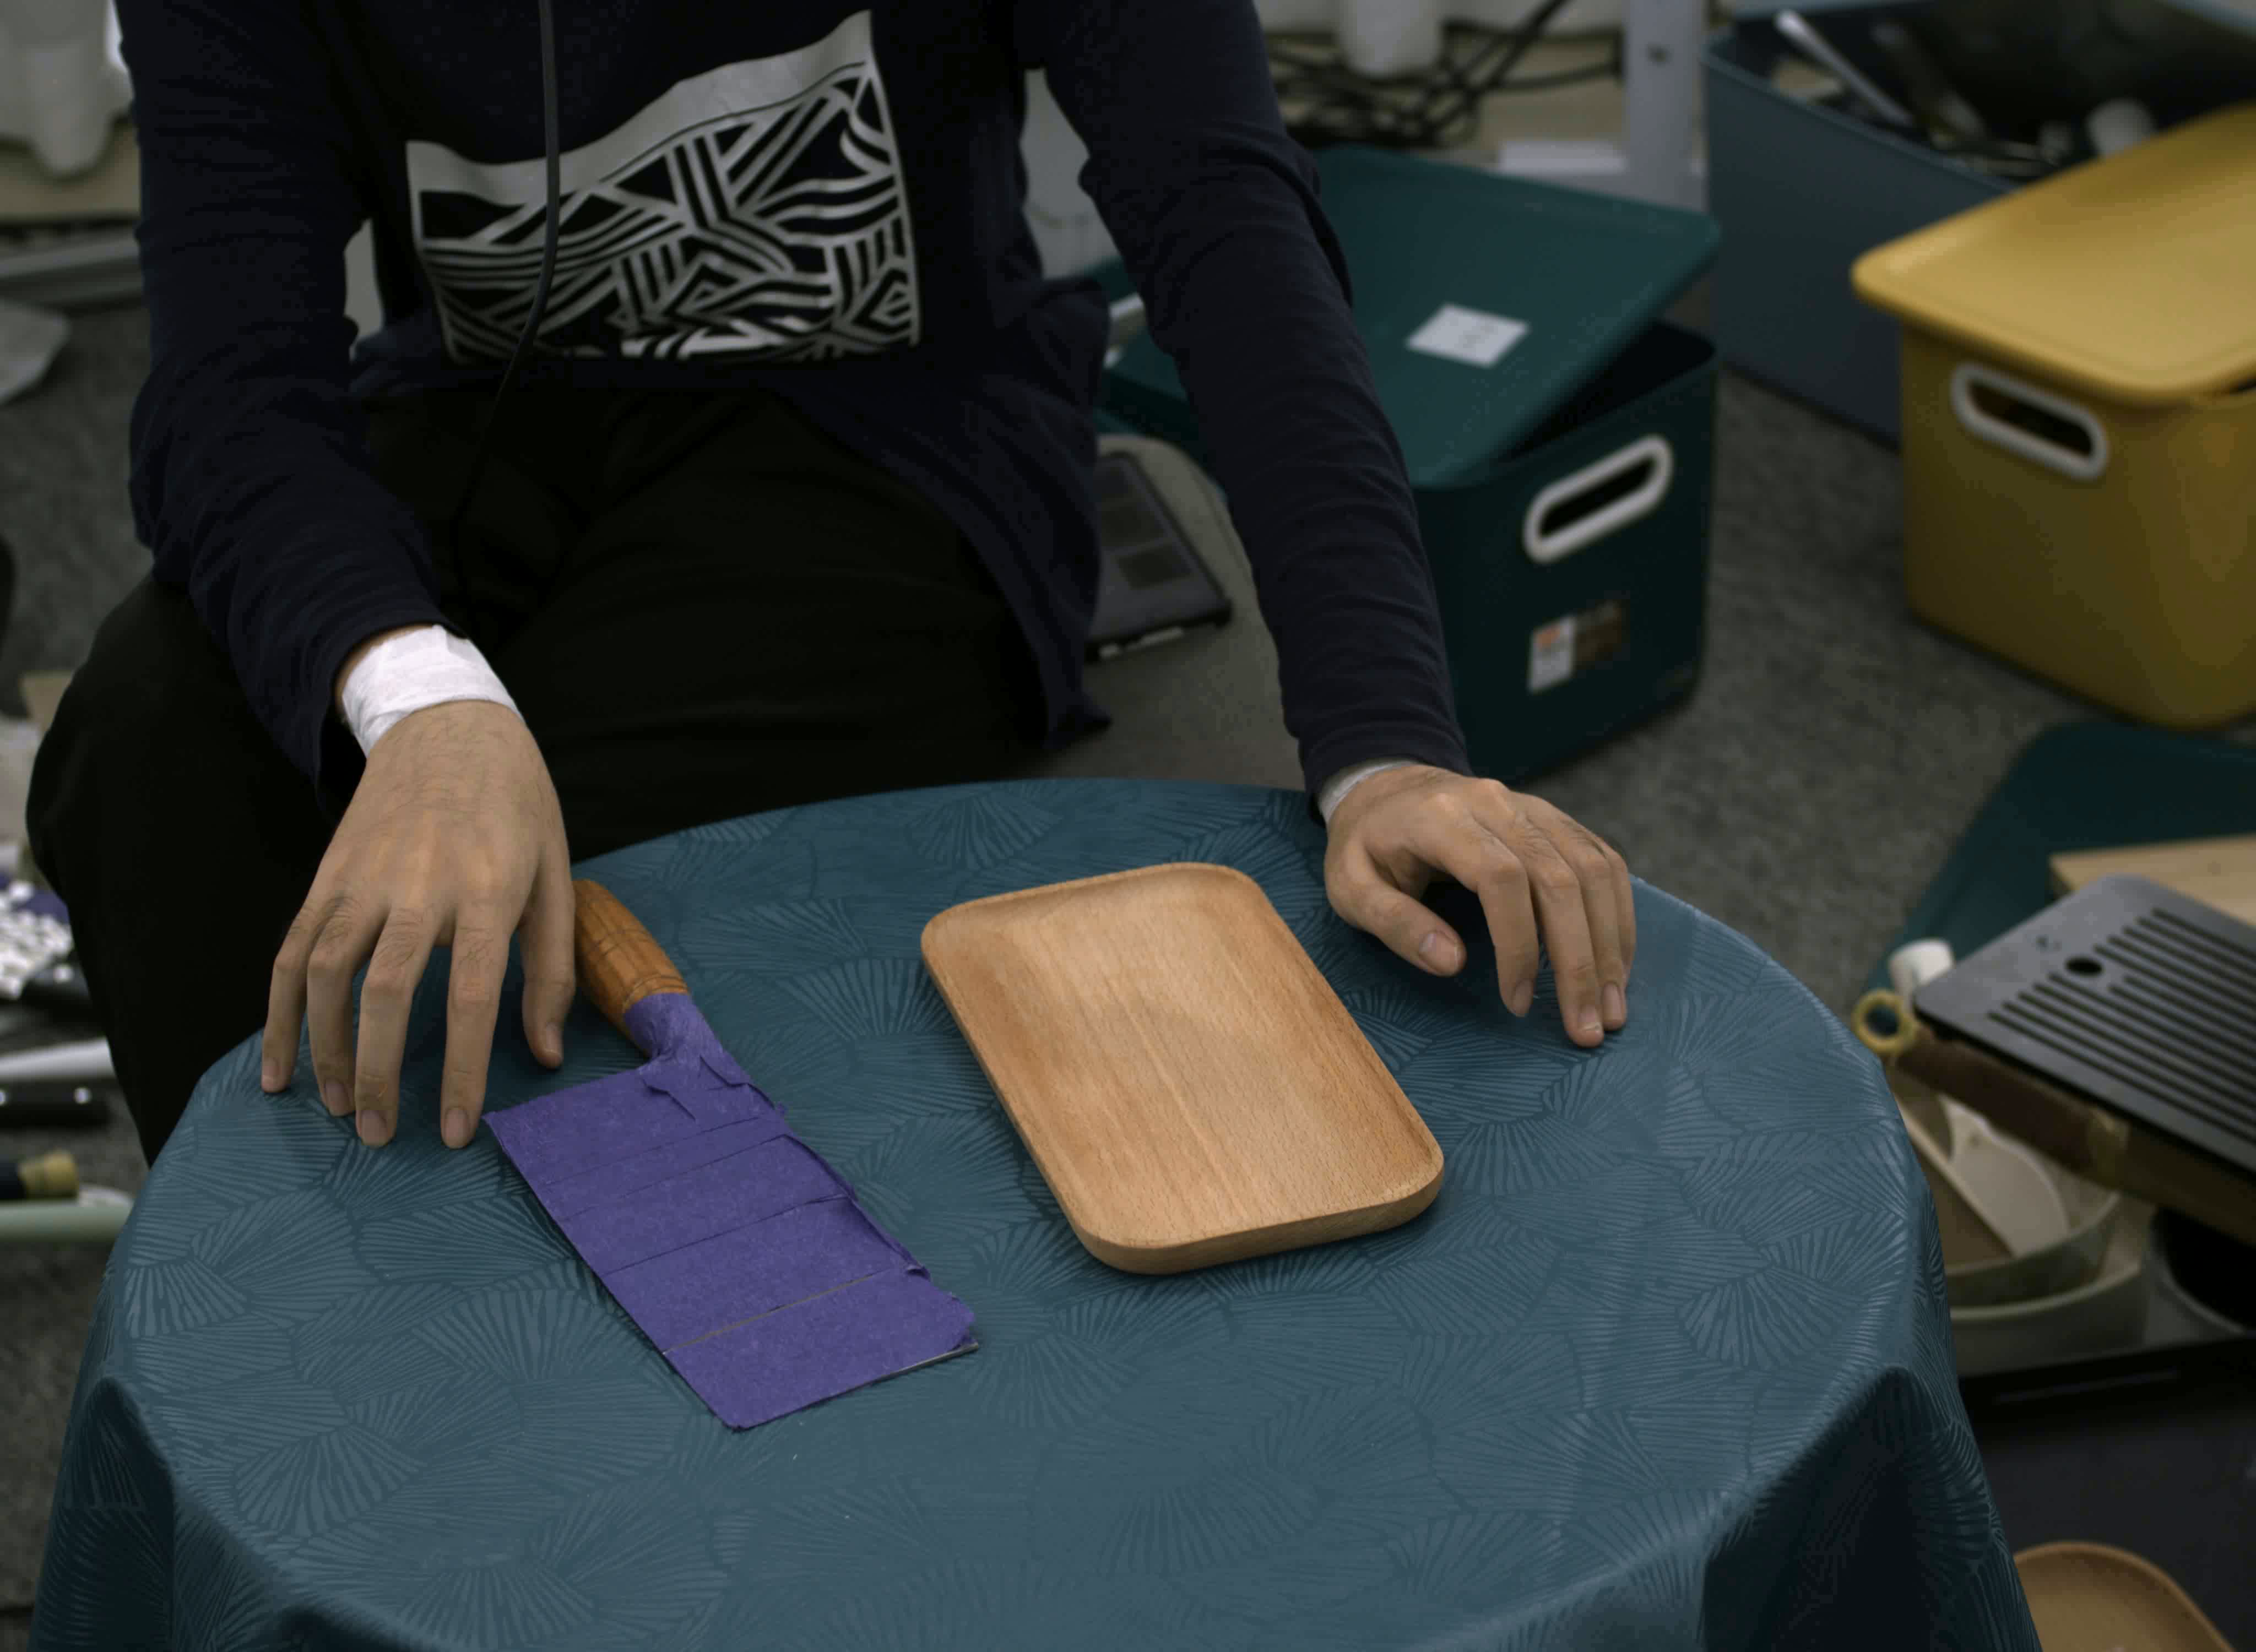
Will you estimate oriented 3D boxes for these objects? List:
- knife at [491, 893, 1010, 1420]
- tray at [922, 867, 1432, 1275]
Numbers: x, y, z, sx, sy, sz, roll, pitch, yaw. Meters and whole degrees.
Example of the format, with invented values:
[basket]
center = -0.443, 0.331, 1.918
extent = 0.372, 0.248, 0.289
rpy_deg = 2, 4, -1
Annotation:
[knife]
center = -0.155, 0.106, 1.878
extent = 0.104, 0.032, 0.317
rpy_deg = -16, 30, -24
[tray]
center = 0.014, 0.081, 1.921
extent = 0.130, 0.022, 0.253
rpy_deg = -11, 29, -10
